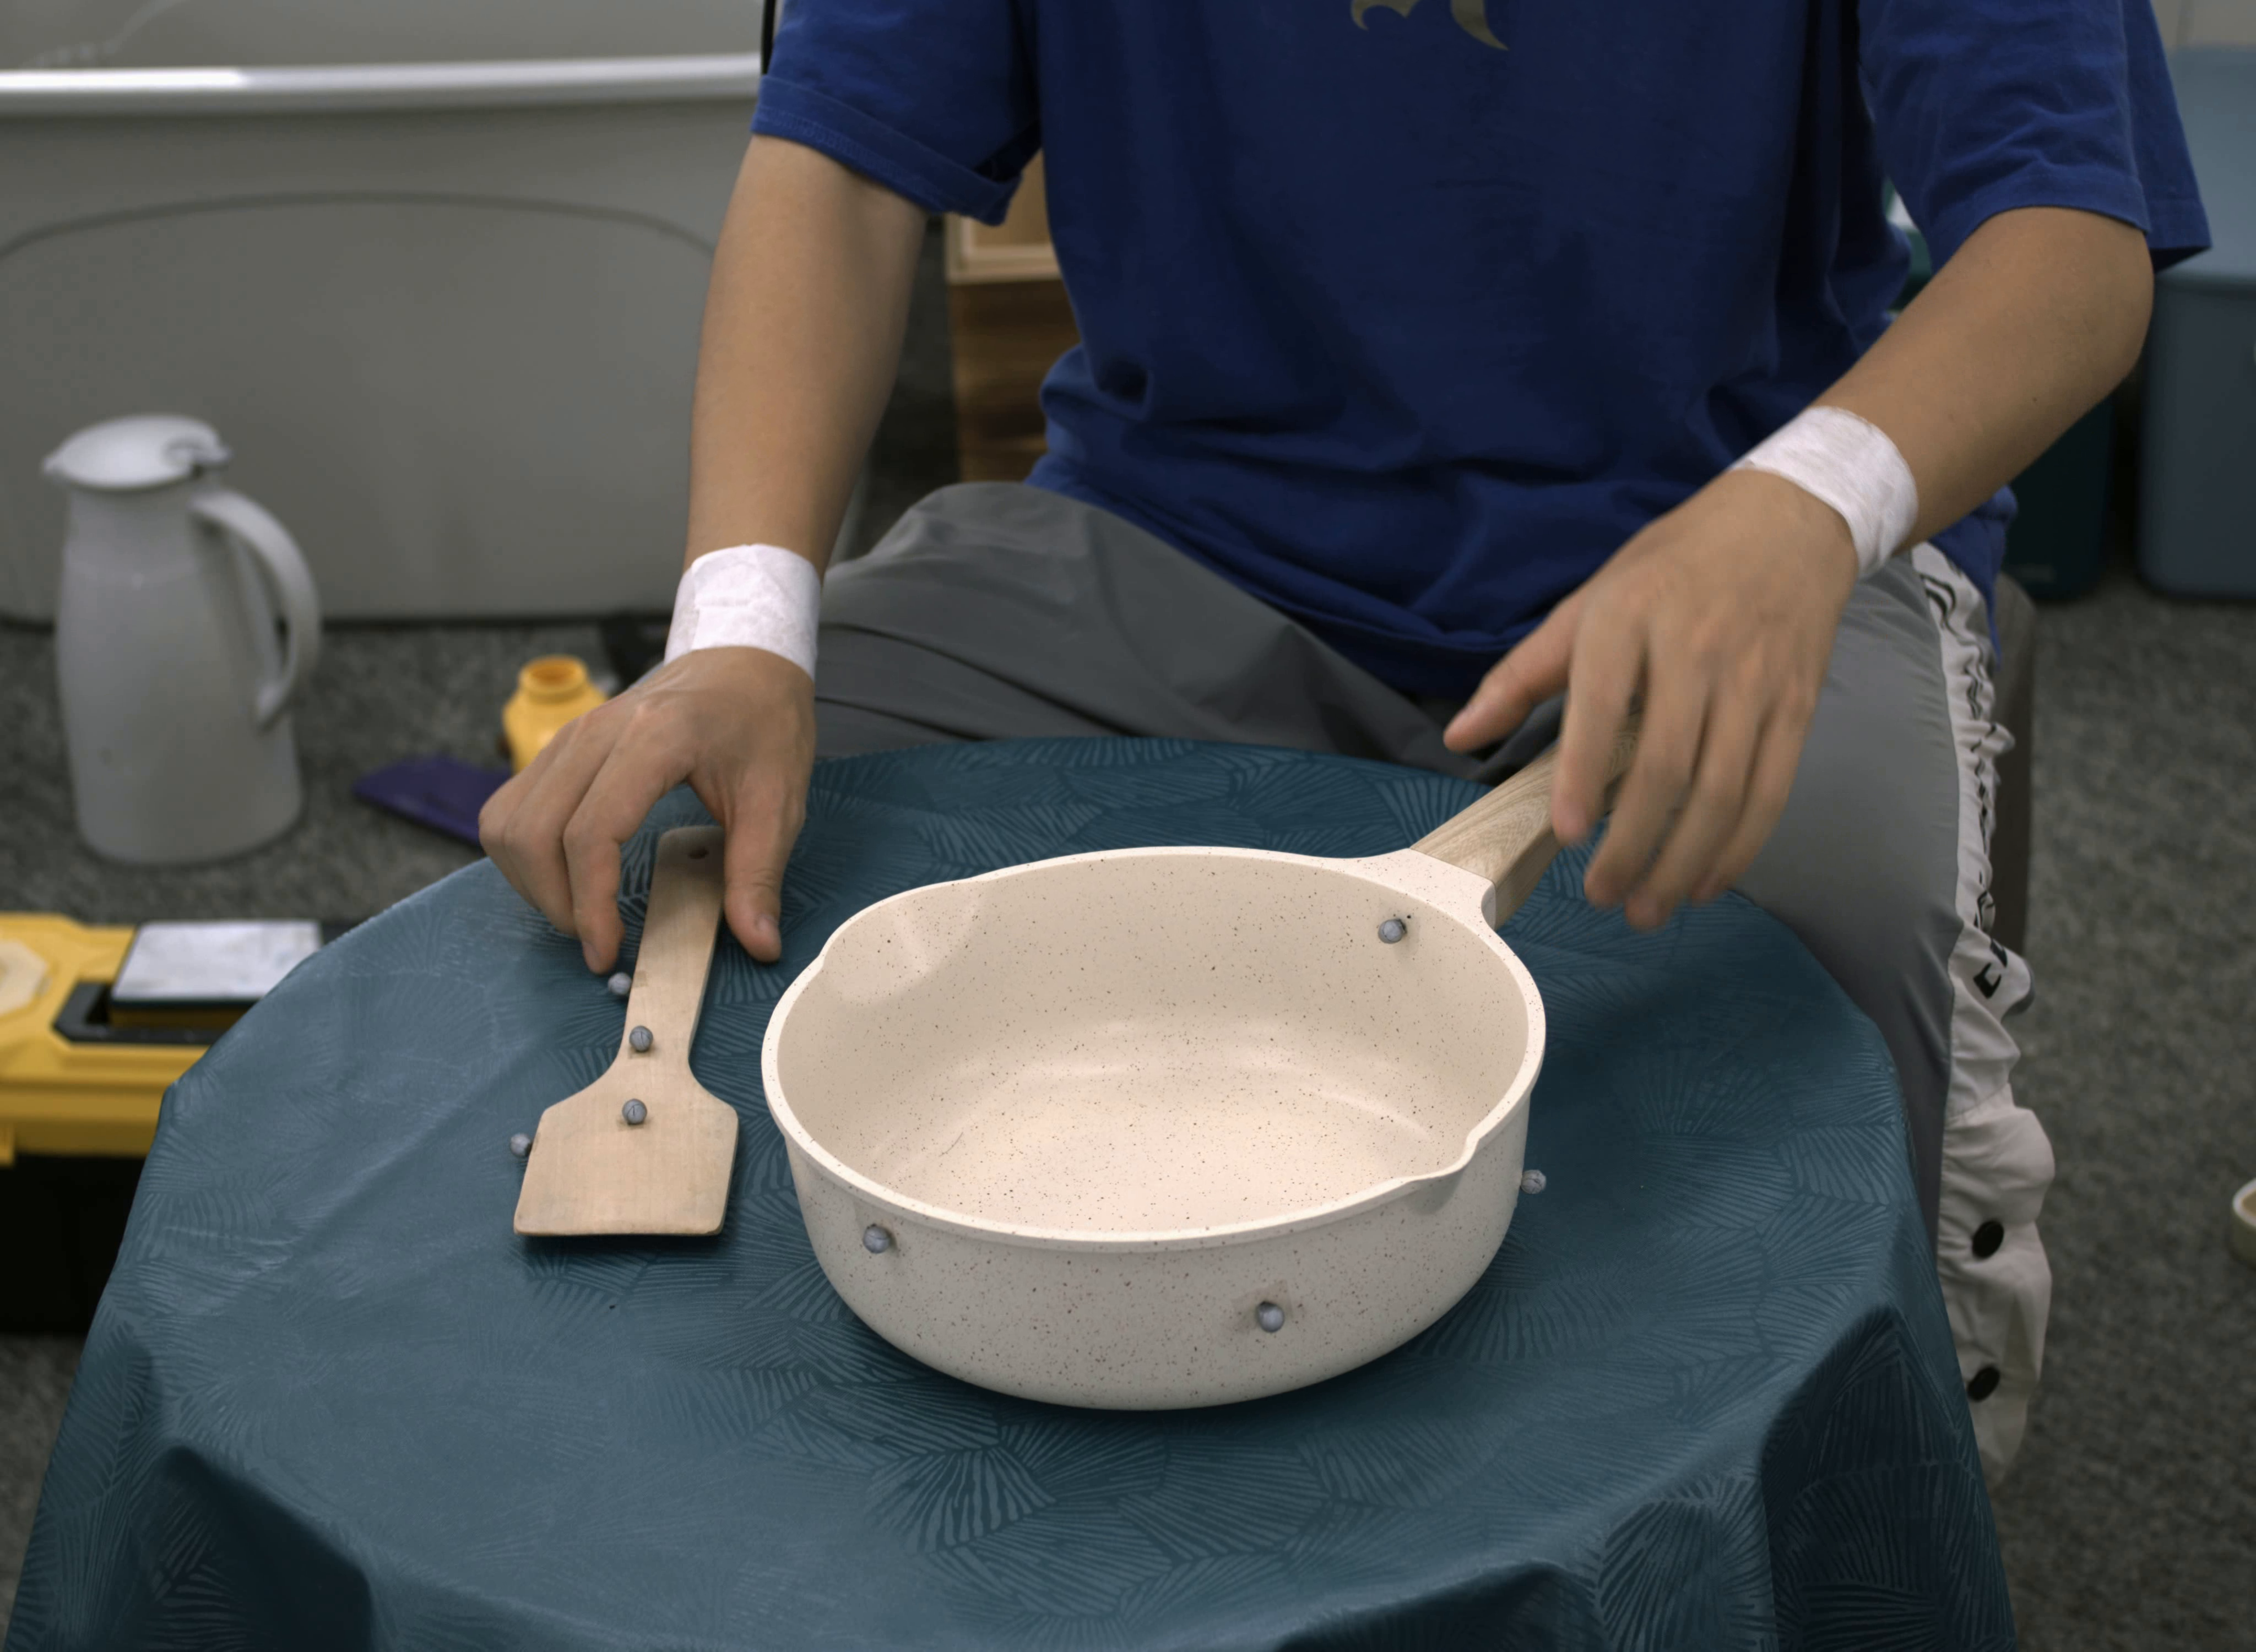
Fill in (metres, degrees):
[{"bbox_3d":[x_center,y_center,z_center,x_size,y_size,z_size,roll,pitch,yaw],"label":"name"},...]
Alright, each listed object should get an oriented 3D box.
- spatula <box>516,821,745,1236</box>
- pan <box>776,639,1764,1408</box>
[{"bbox_3d":[-0.163,0.068,1.970,0.072,0.010,0.297,-1,27,2],"label":"spatula"},{"bbox_3d":[0.076,0.060,1.864,0.262,0.101,0.440,19,34,39],"label":"pan"}]
